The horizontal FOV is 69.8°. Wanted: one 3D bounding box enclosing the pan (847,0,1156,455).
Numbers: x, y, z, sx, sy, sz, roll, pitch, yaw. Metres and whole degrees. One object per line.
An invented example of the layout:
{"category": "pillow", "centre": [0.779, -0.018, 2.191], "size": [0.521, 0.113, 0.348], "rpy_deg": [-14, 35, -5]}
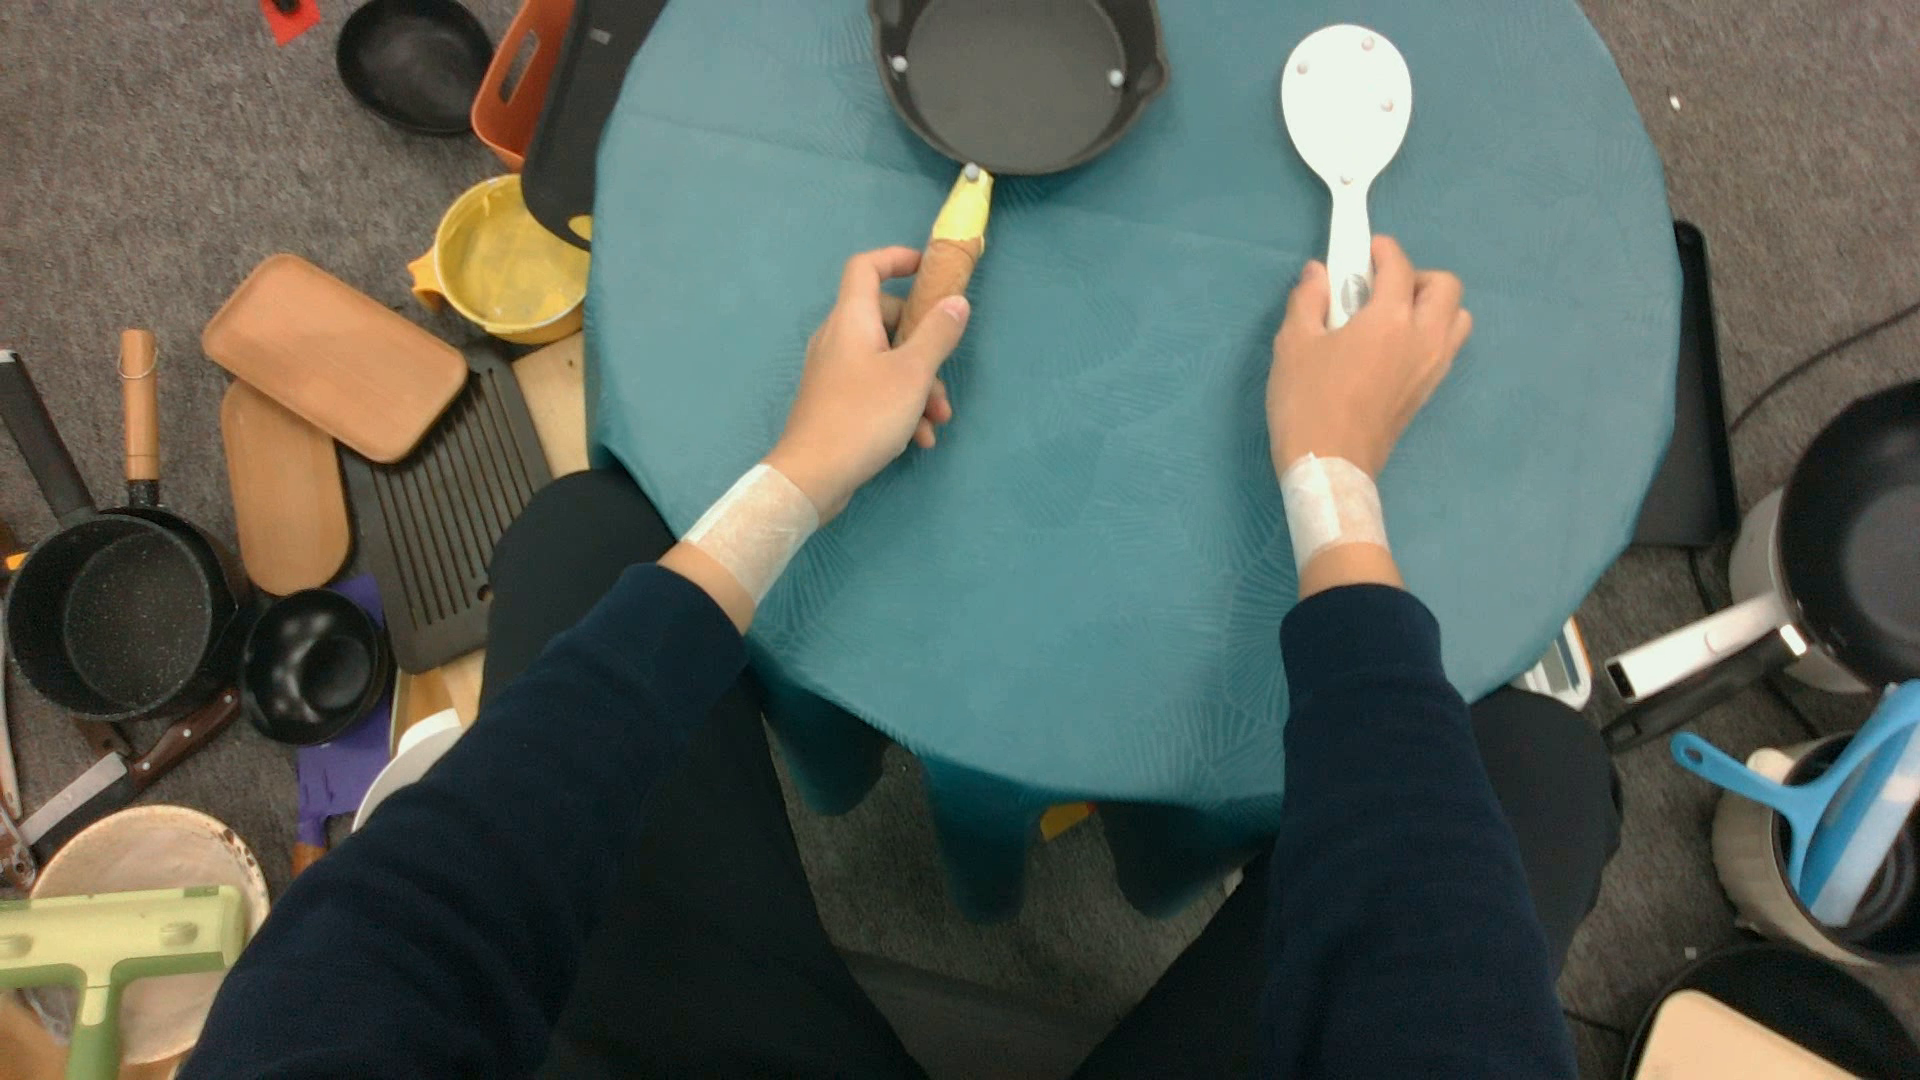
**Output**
{"category": "pan", "centre": [-0.001, -0.191, 0.740], "size": [0.169, 0.049, 0.325], "rpy_deg": [19, 75, 3]}

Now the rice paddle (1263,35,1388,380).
{"category": "rice paddle", "centre": [0.203, -0.189, 0.756], "size": [0.069, 0.029, 0.205], "rpy_deg": [0, 75, 5]}
